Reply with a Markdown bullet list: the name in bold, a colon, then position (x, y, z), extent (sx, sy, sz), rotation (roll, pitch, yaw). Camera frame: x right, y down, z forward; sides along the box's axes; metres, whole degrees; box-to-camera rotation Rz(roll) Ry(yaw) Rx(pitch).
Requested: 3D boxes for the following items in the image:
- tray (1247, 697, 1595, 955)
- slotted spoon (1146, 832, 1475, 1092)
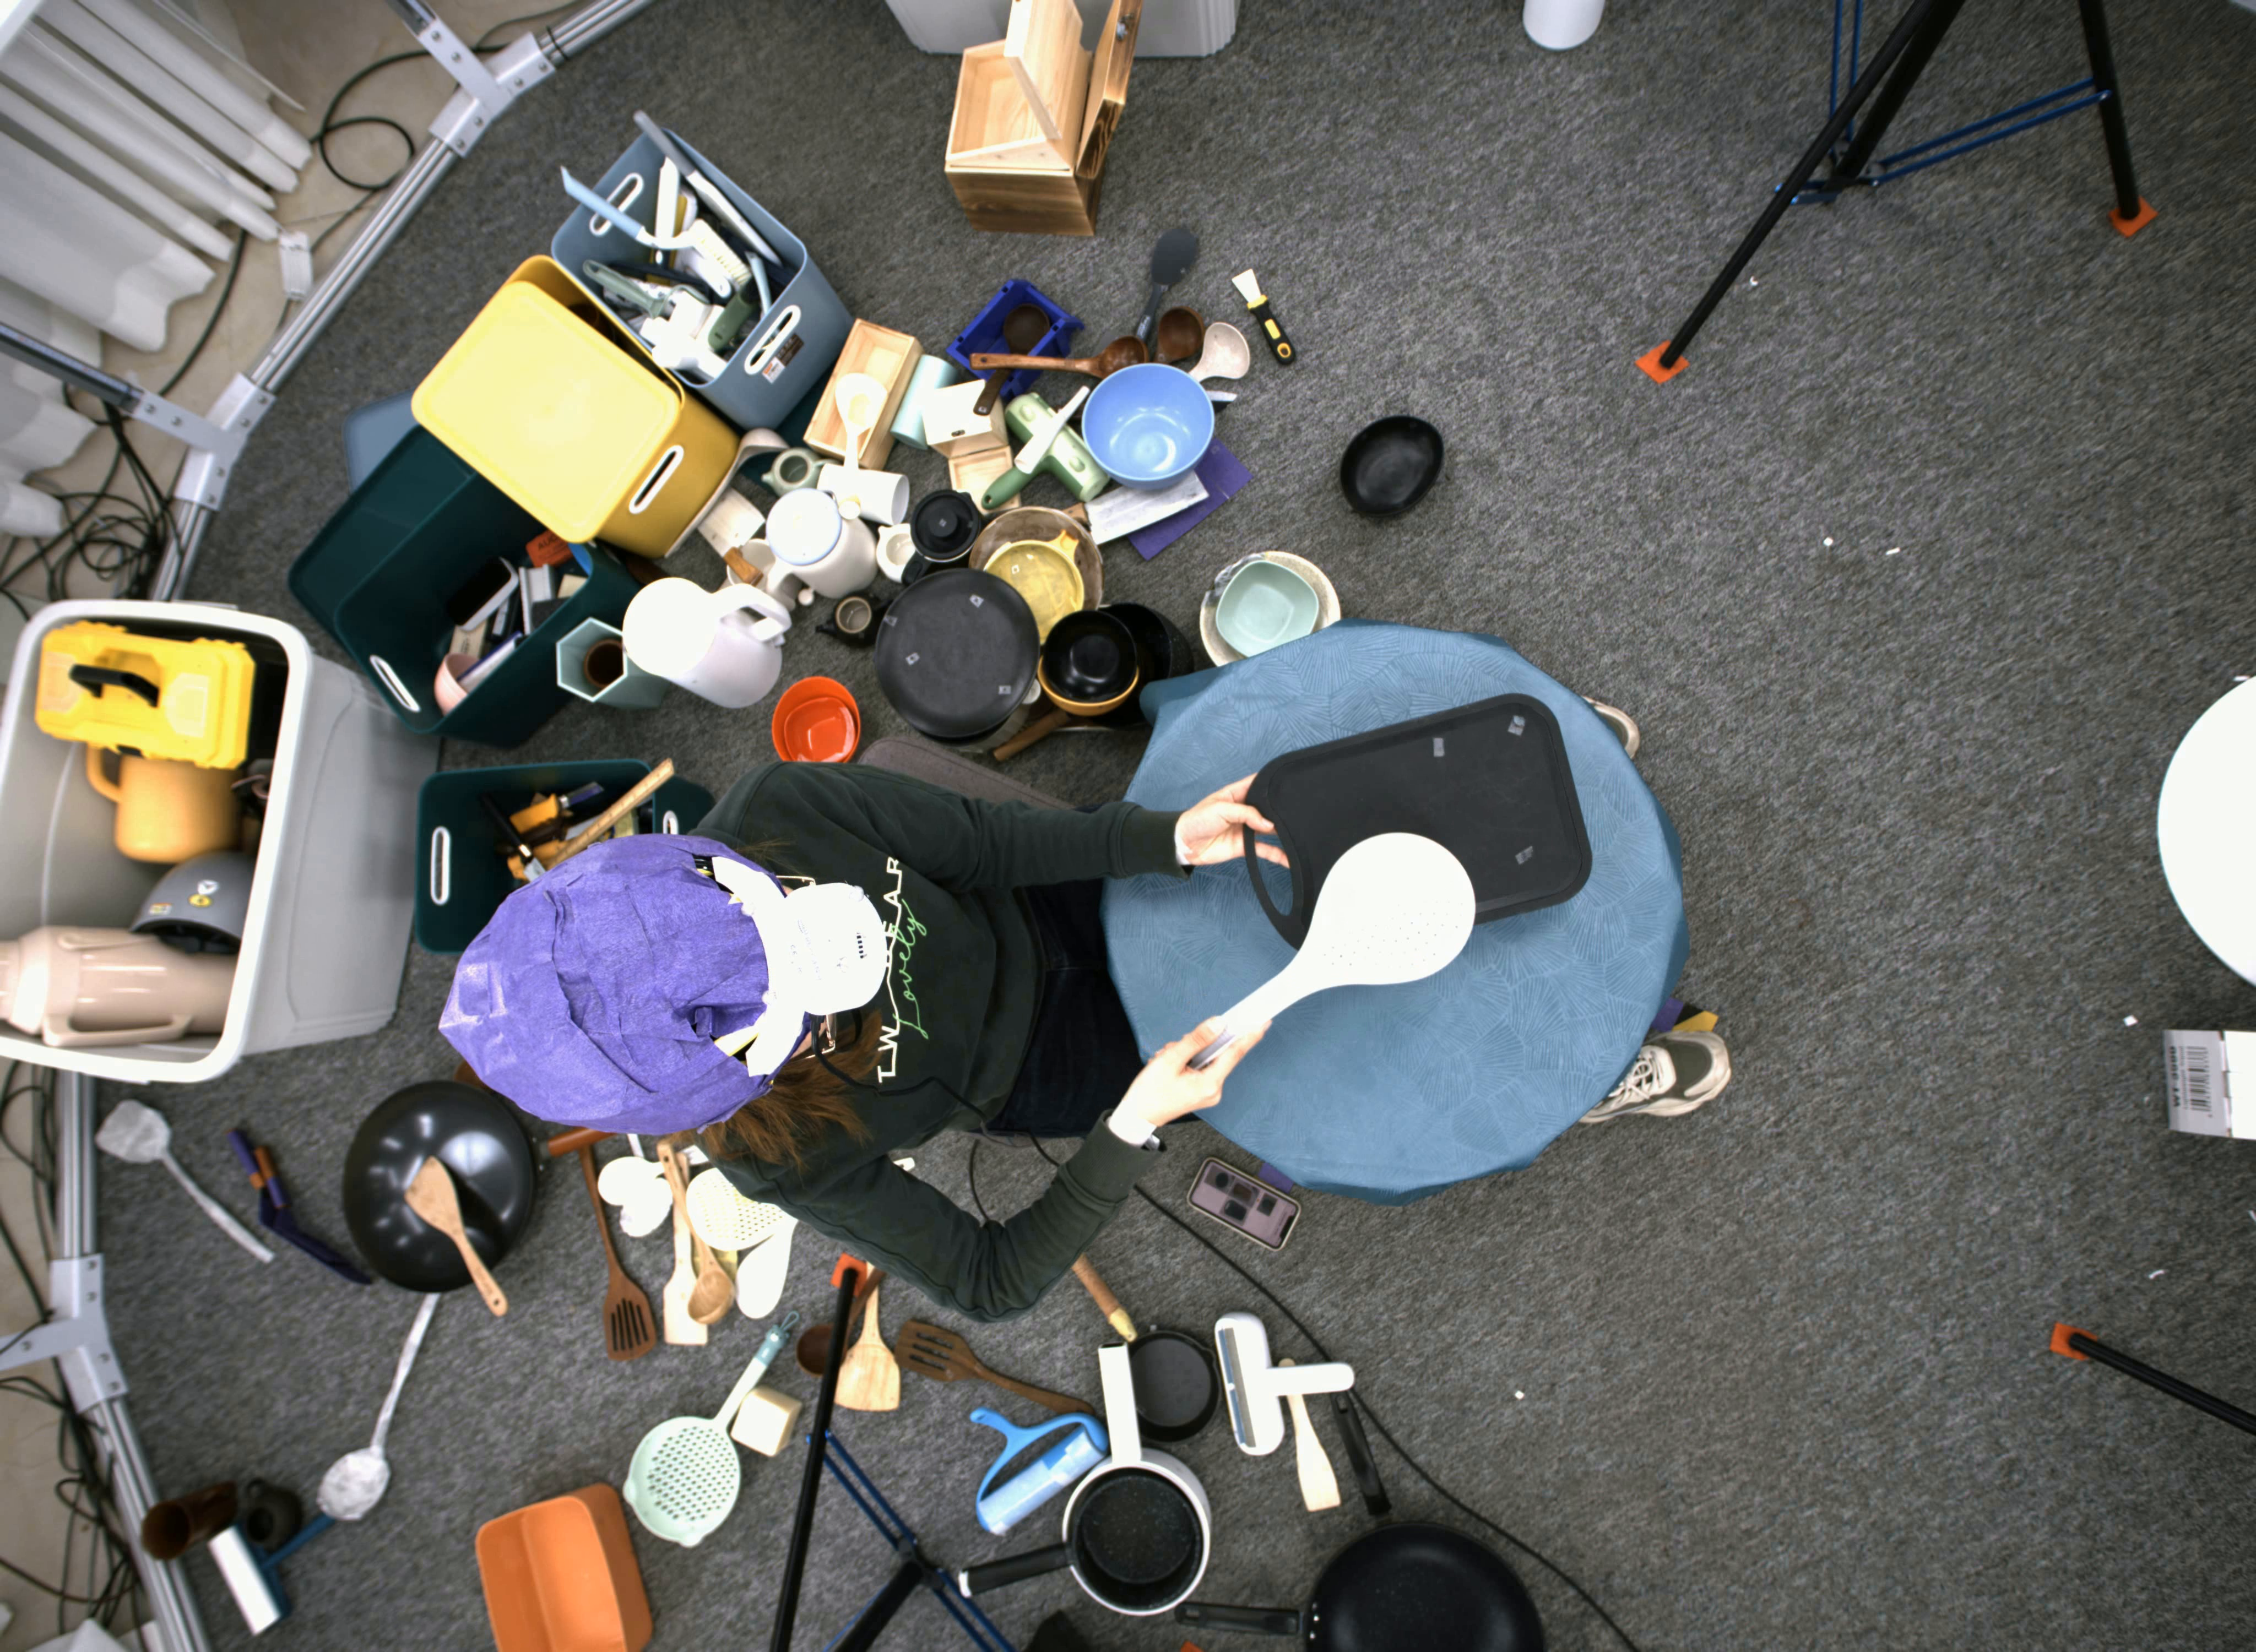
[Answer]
- **tray**: position (0.279, 0.006, 1.344), extent (0.327, 0.010, 0.211), rotation (-15, 94, 10)
- **slotted spoon**: position (0.160, 0.135, 1.271), extent (0.352, 0.045, 0.136), rotation (-39, 99, 8)
